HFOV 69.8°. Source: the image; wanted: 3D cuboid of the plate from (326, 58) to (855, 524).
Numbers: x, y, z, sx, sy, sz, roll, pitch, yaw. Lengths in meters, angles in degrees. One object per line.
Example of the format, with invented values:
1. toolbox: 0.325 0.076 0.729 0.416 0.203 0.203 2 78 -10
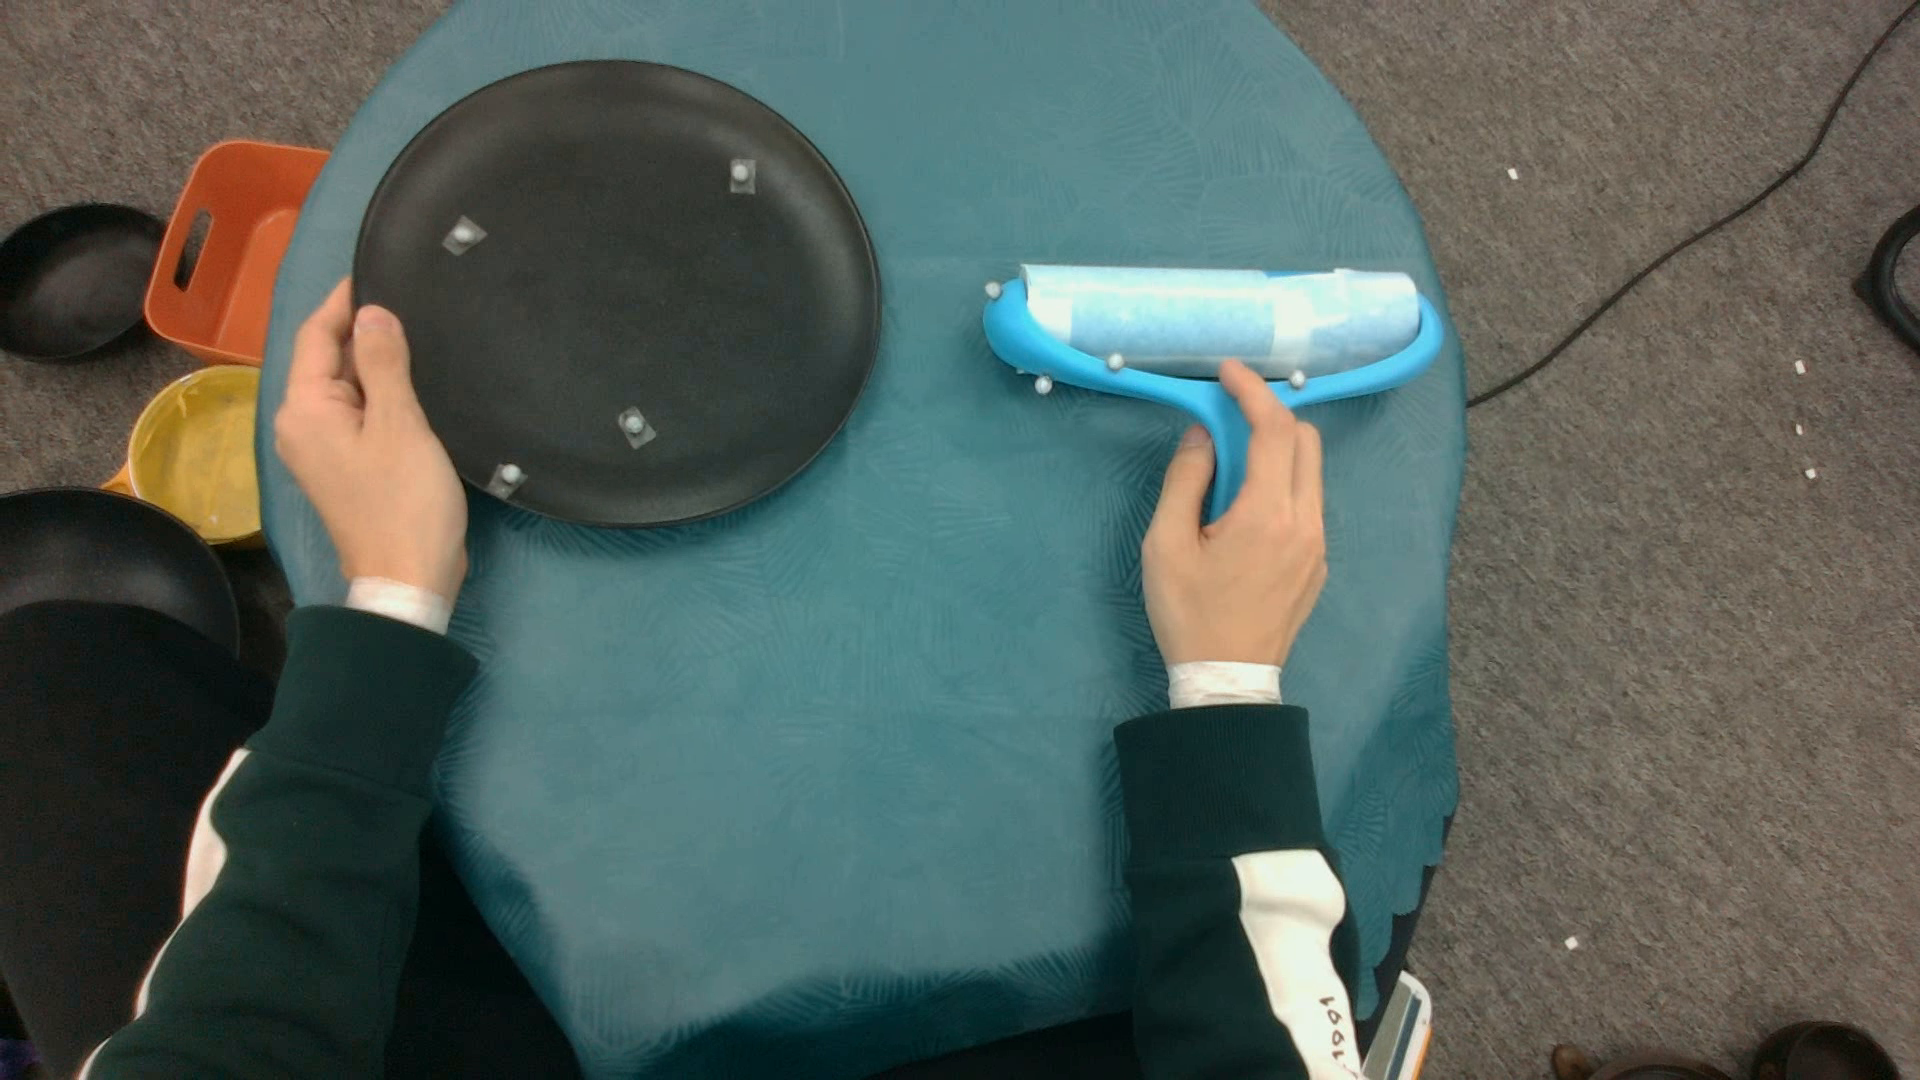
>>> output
1. plate: -0.173 -0.122 0.664 0.244 0.023 0.245 3 73 -11

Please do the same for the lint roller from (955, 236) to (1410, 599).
1. lint roller: 0.118 -0.065 0.673 0.229 0.068 0.180 -4 75 -9
